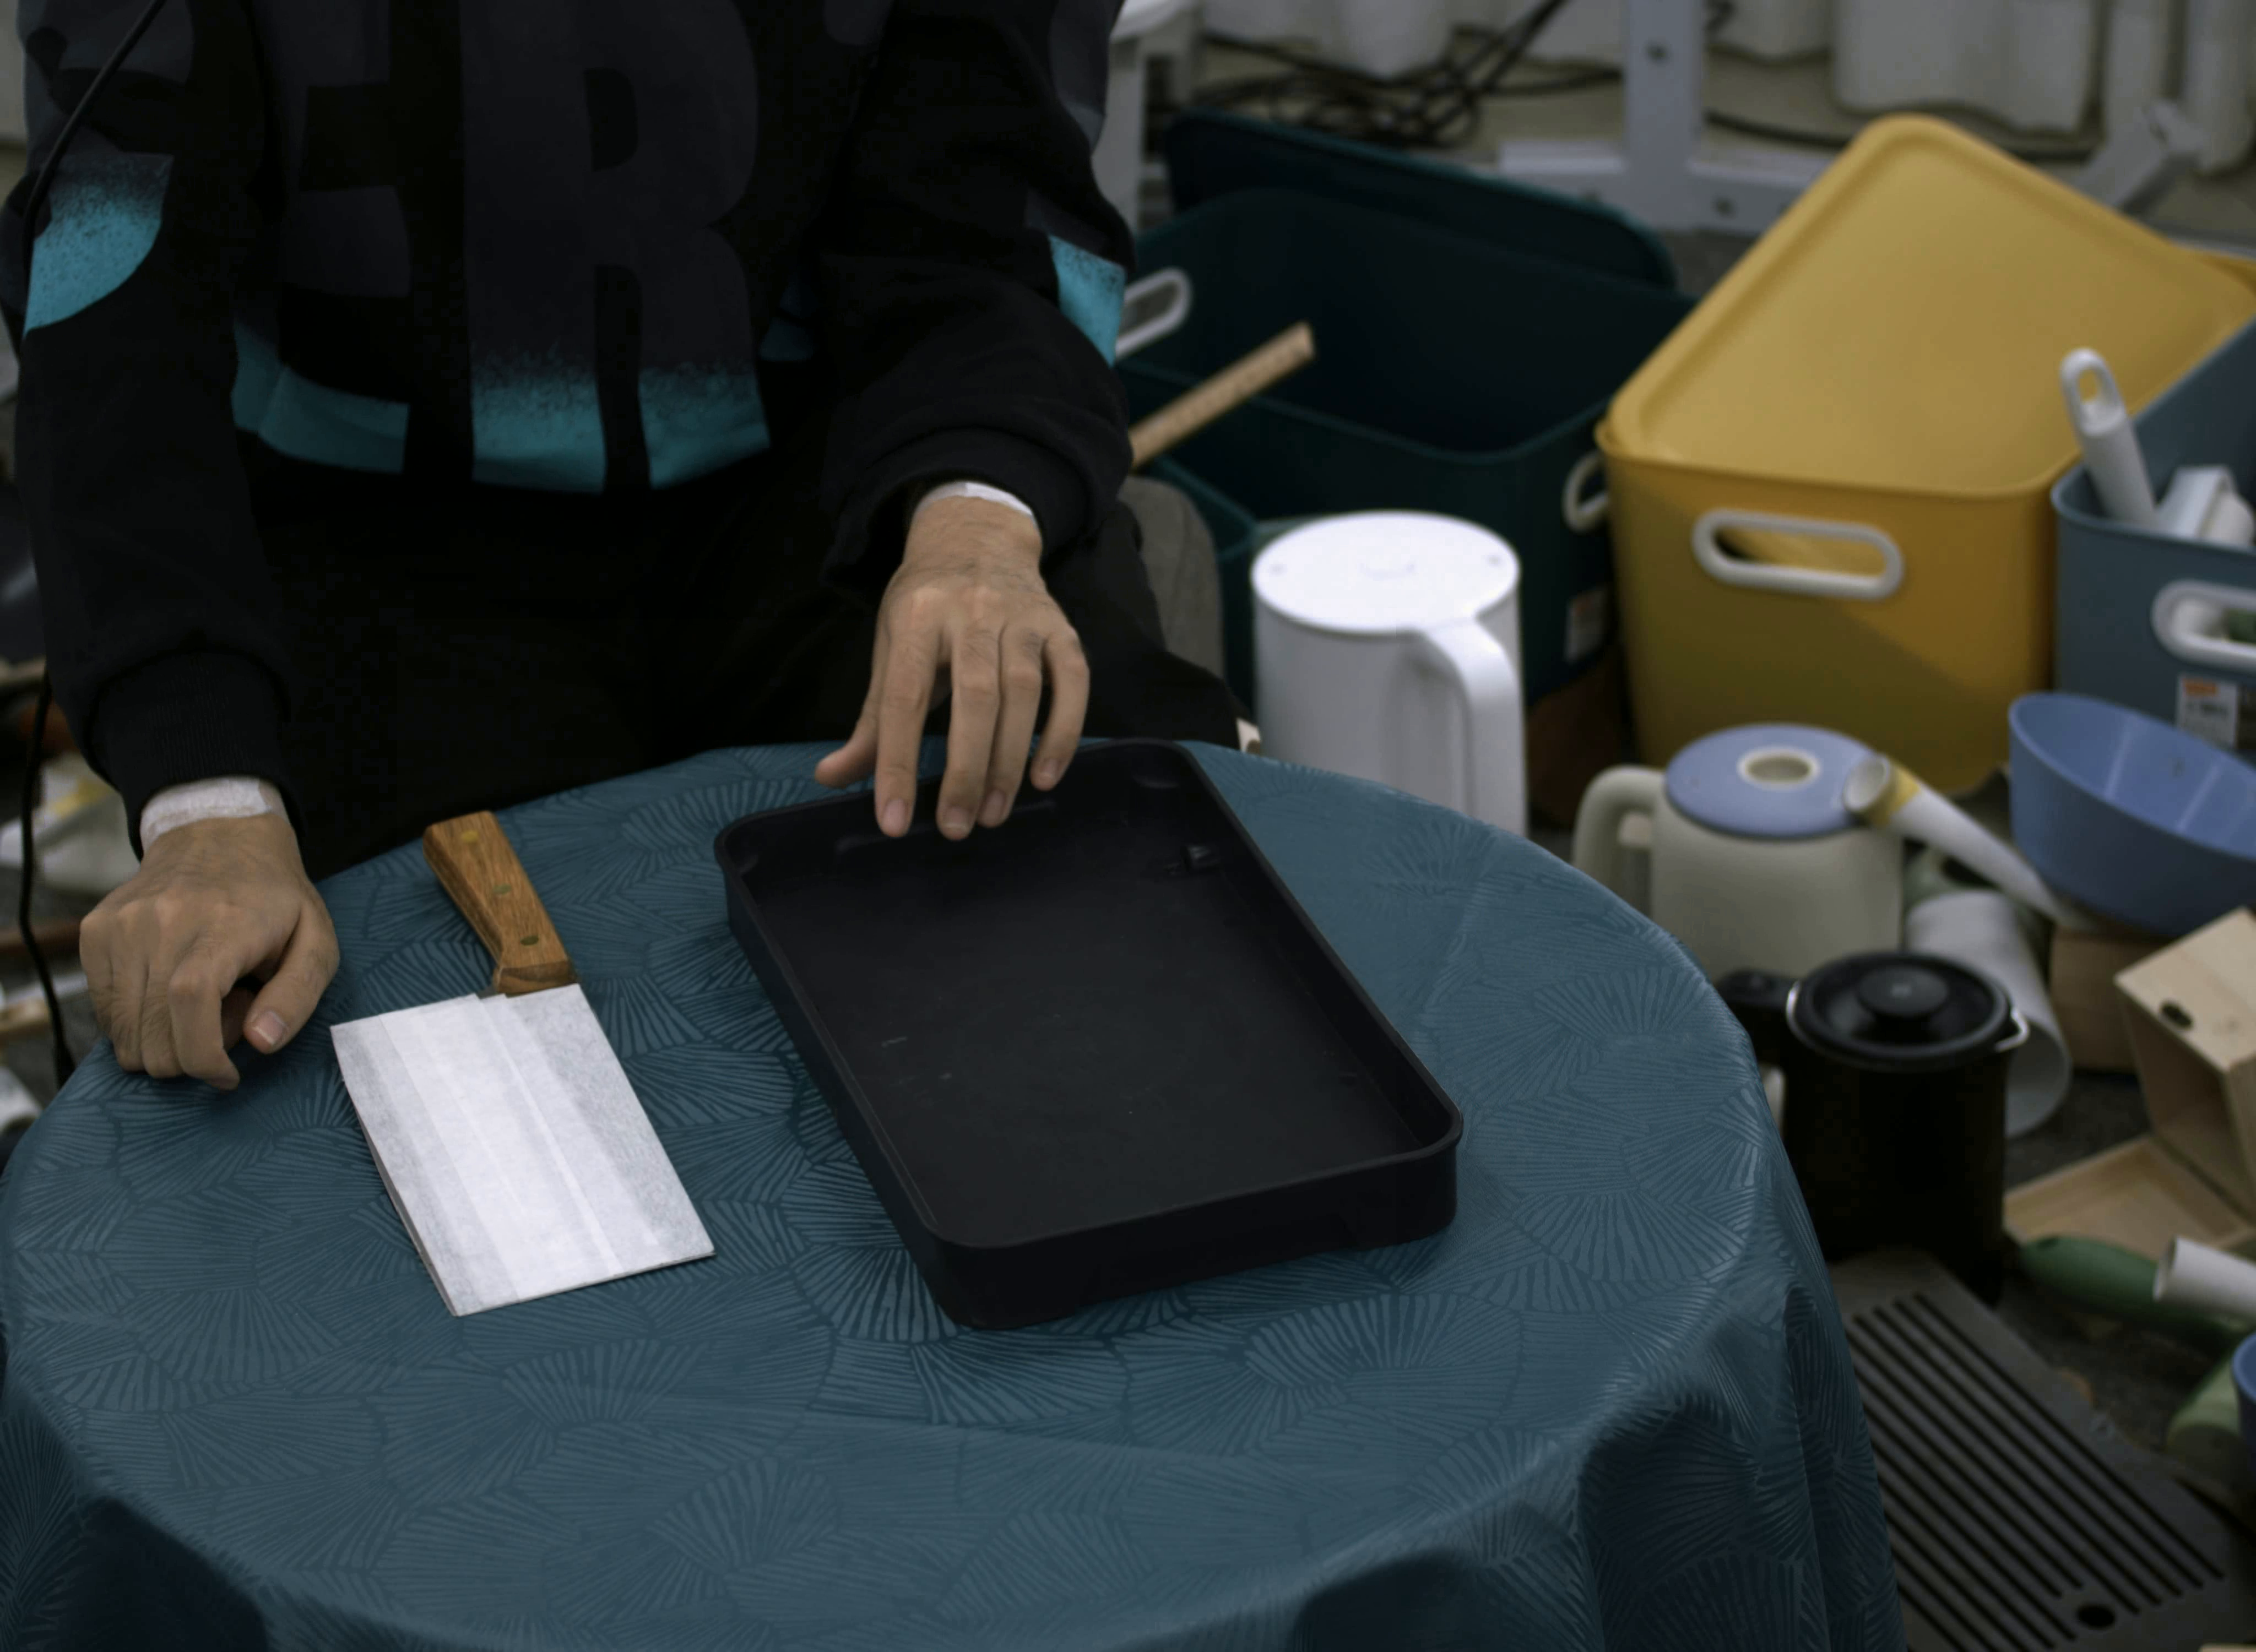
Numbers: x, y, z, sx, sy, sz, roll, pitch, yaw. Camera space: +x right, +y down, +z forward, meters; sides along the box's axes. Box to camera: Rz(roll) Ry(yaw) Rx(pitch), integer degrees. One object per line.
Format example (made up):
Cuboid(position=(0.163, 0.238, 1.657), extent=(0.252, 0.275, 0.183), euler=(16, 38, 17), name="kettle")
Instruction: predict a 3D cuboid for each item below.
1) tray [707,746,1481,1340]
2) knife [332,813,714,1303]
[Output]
Cuboid(position=(-0.017, 0.068, 1.928), extent=(0.184, 0.036, 0.320), euler=(-12, 29, -16), name="tray")
Cuboid(position=(-0.225, 0.079, 1.949), extent=(0.093, 0.021, 0.309), euler=(-13, 31, -15), name="knife")
